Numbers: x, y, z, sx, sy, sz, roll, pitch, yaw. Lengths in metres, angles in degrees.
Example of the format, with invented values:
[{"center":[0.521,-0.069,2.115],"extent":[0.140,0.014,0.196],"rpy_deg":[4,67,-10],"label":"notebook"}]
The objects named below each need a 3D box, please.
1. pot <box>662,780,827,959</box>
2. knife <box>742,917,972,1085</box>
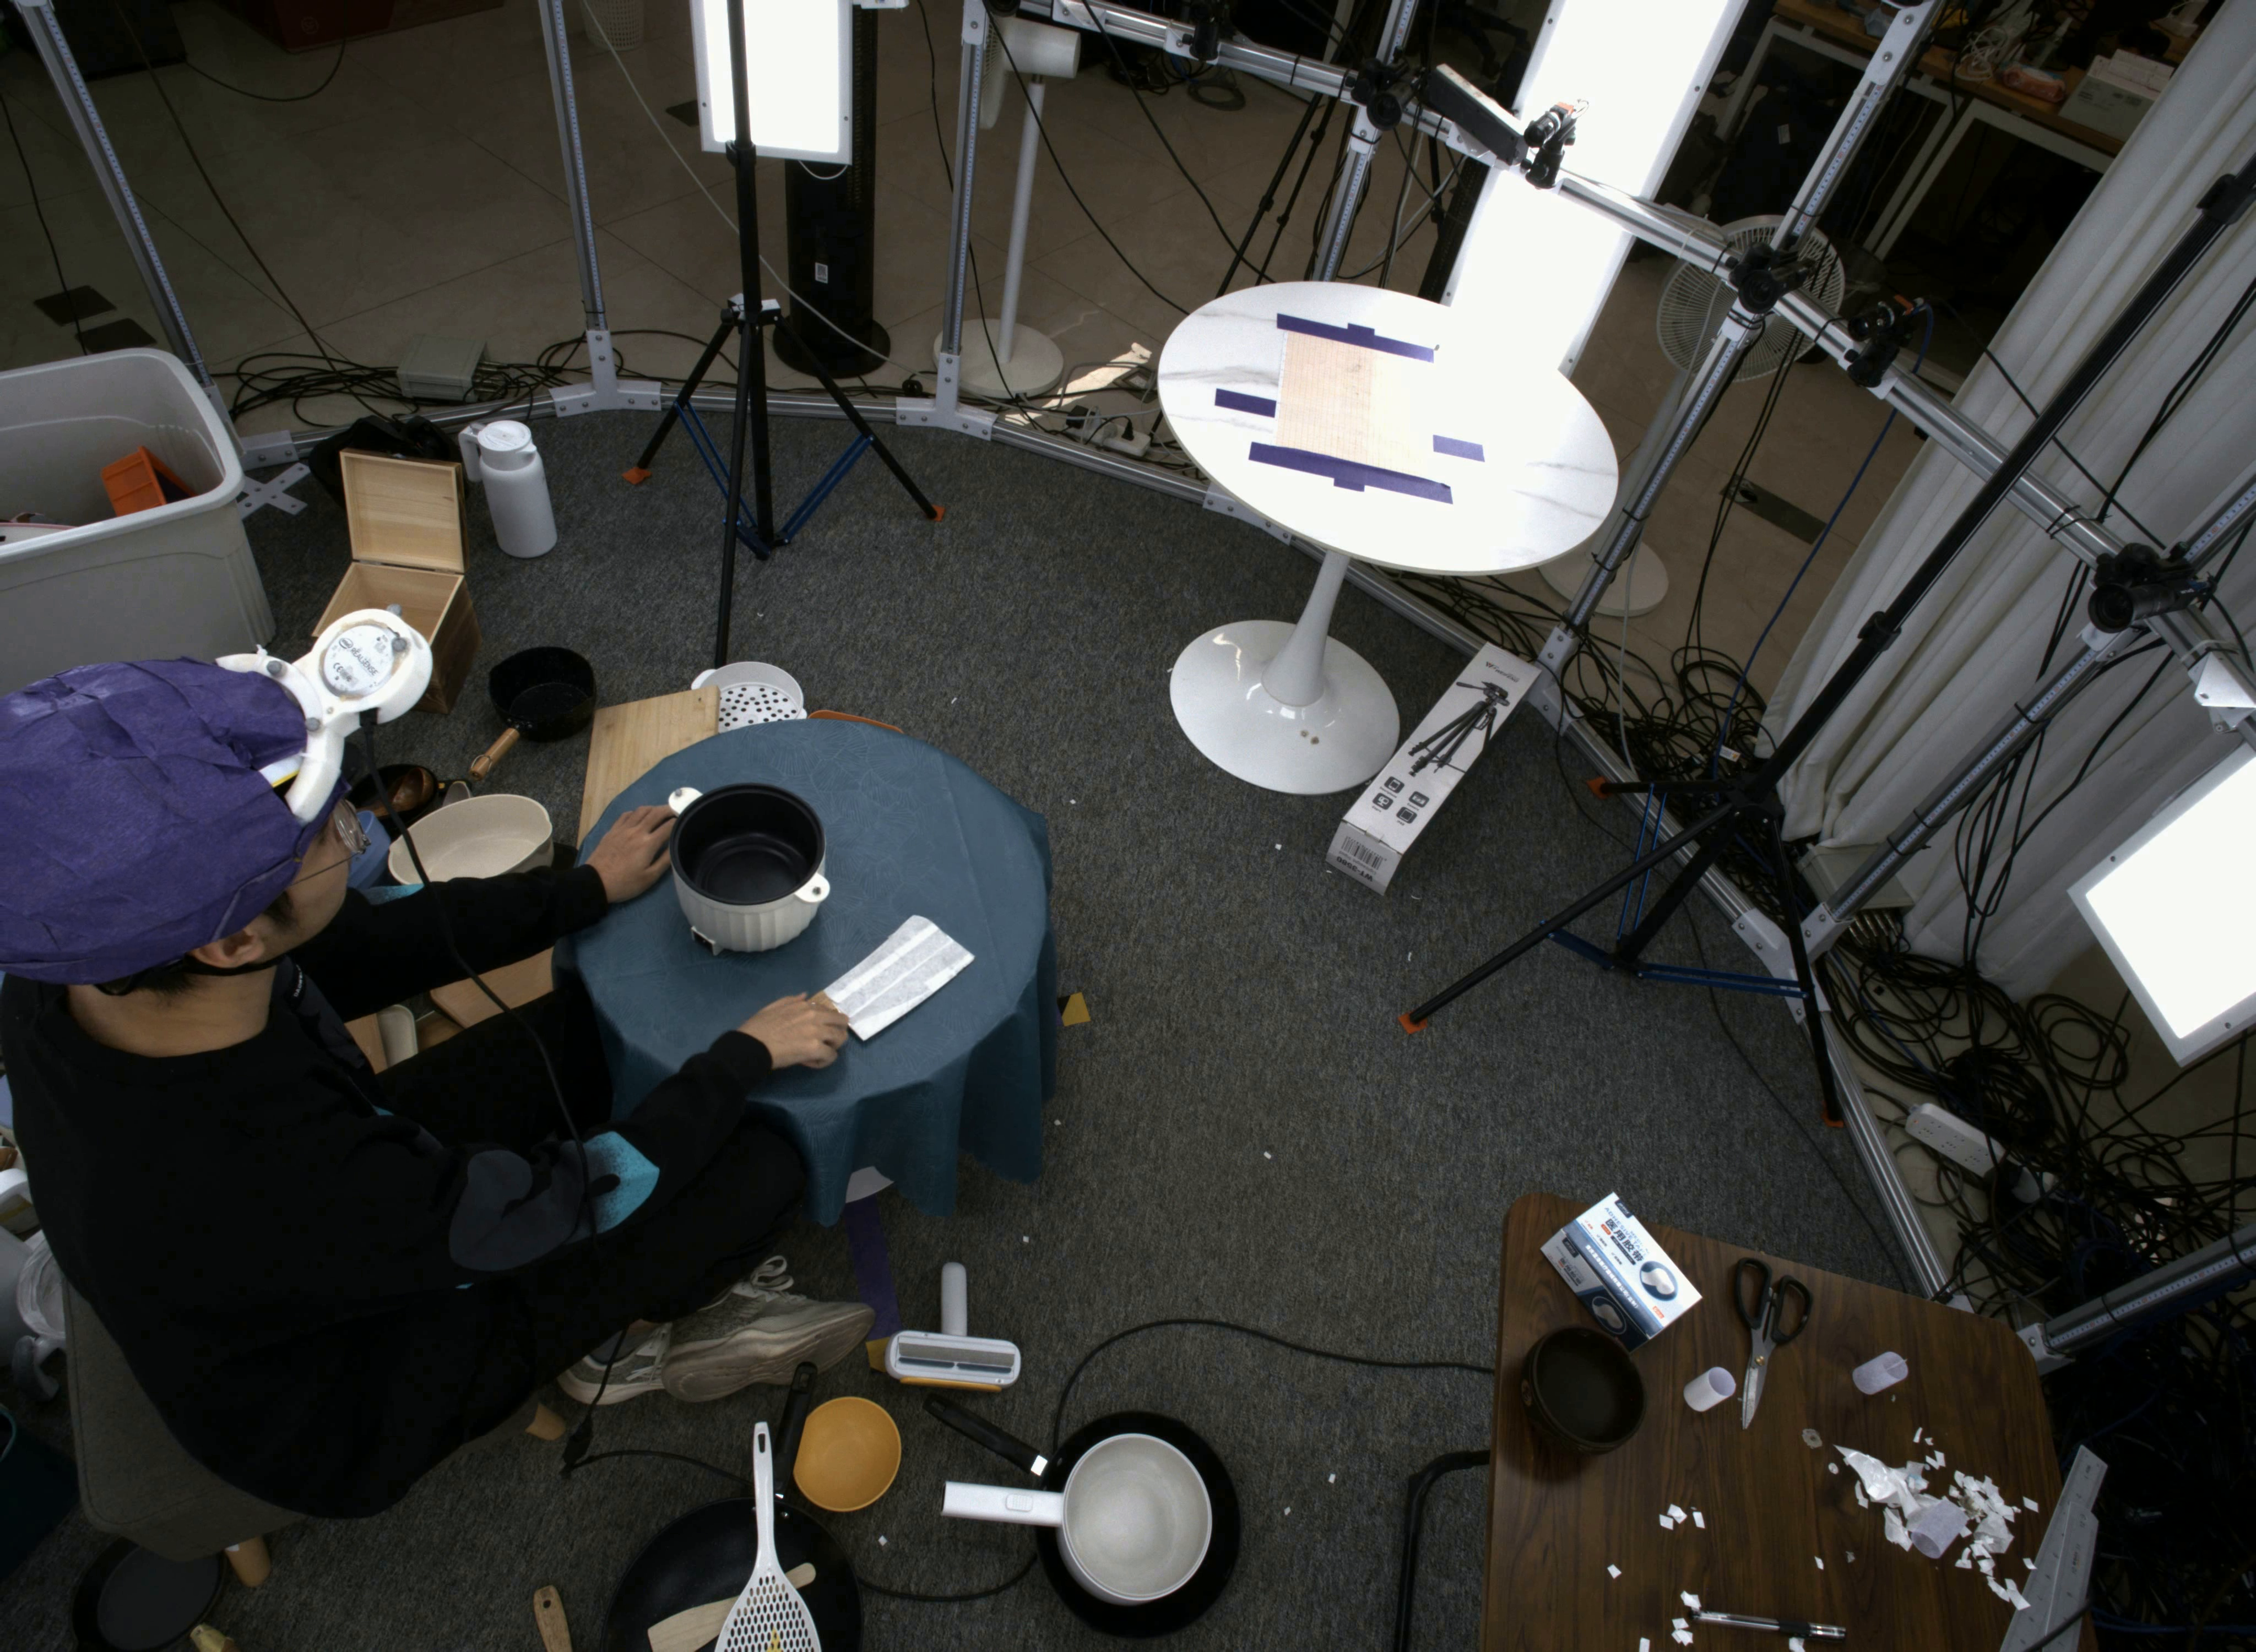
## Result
[{"center":[-0.461,0.053,1.574],"extent":[0.236,0.145,0.190],"rpy_deg":[32,56,10],"label":"pot"},{"center":[-0.330,0.208,1.571],"extent":[0.111,0.022,0.316],"rpy_deg":[43,52,18],"label":"knife"}]
